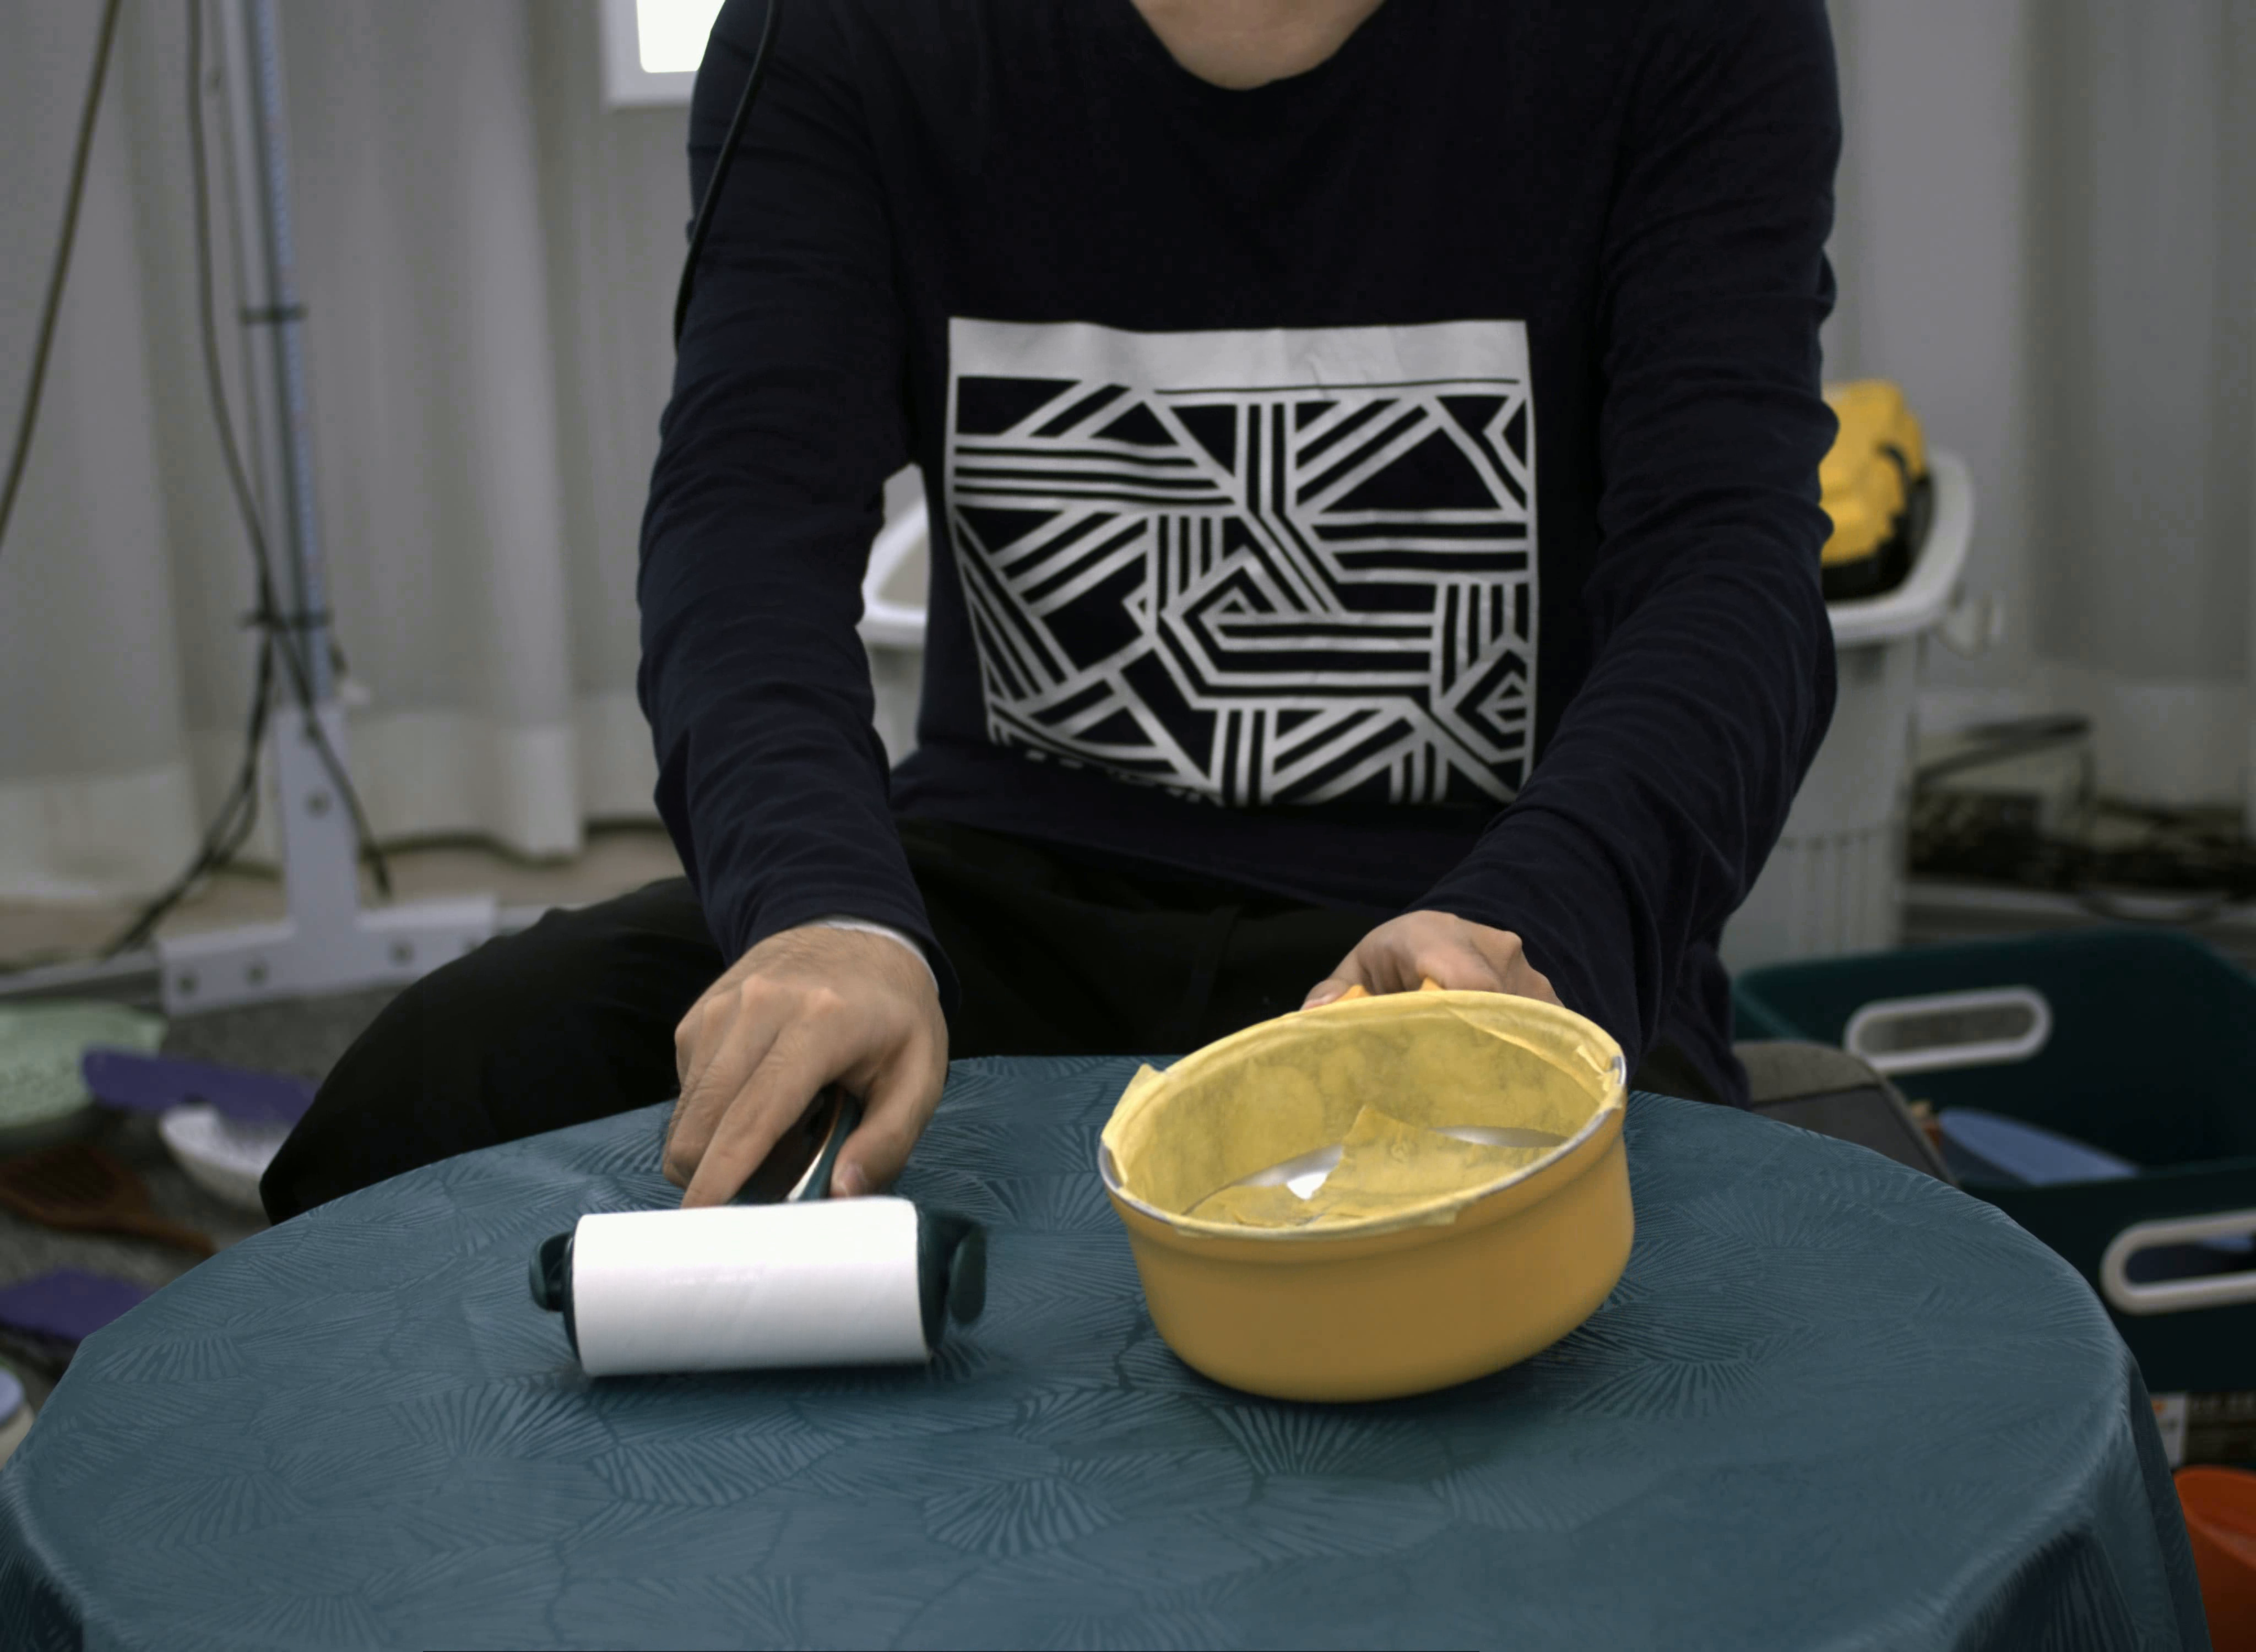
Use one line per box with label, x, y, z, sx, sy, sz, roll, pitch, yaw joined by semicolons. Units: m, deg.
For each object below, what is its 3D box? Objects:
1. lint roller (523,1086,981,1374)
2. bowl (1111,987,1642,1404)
lint roller;-0.106;0.102;1.632;0.134;0.048;0.182;-6;24;4
bowl;0.077;0.105;1.579;0.152;0.074;0.181;-10;21;6
